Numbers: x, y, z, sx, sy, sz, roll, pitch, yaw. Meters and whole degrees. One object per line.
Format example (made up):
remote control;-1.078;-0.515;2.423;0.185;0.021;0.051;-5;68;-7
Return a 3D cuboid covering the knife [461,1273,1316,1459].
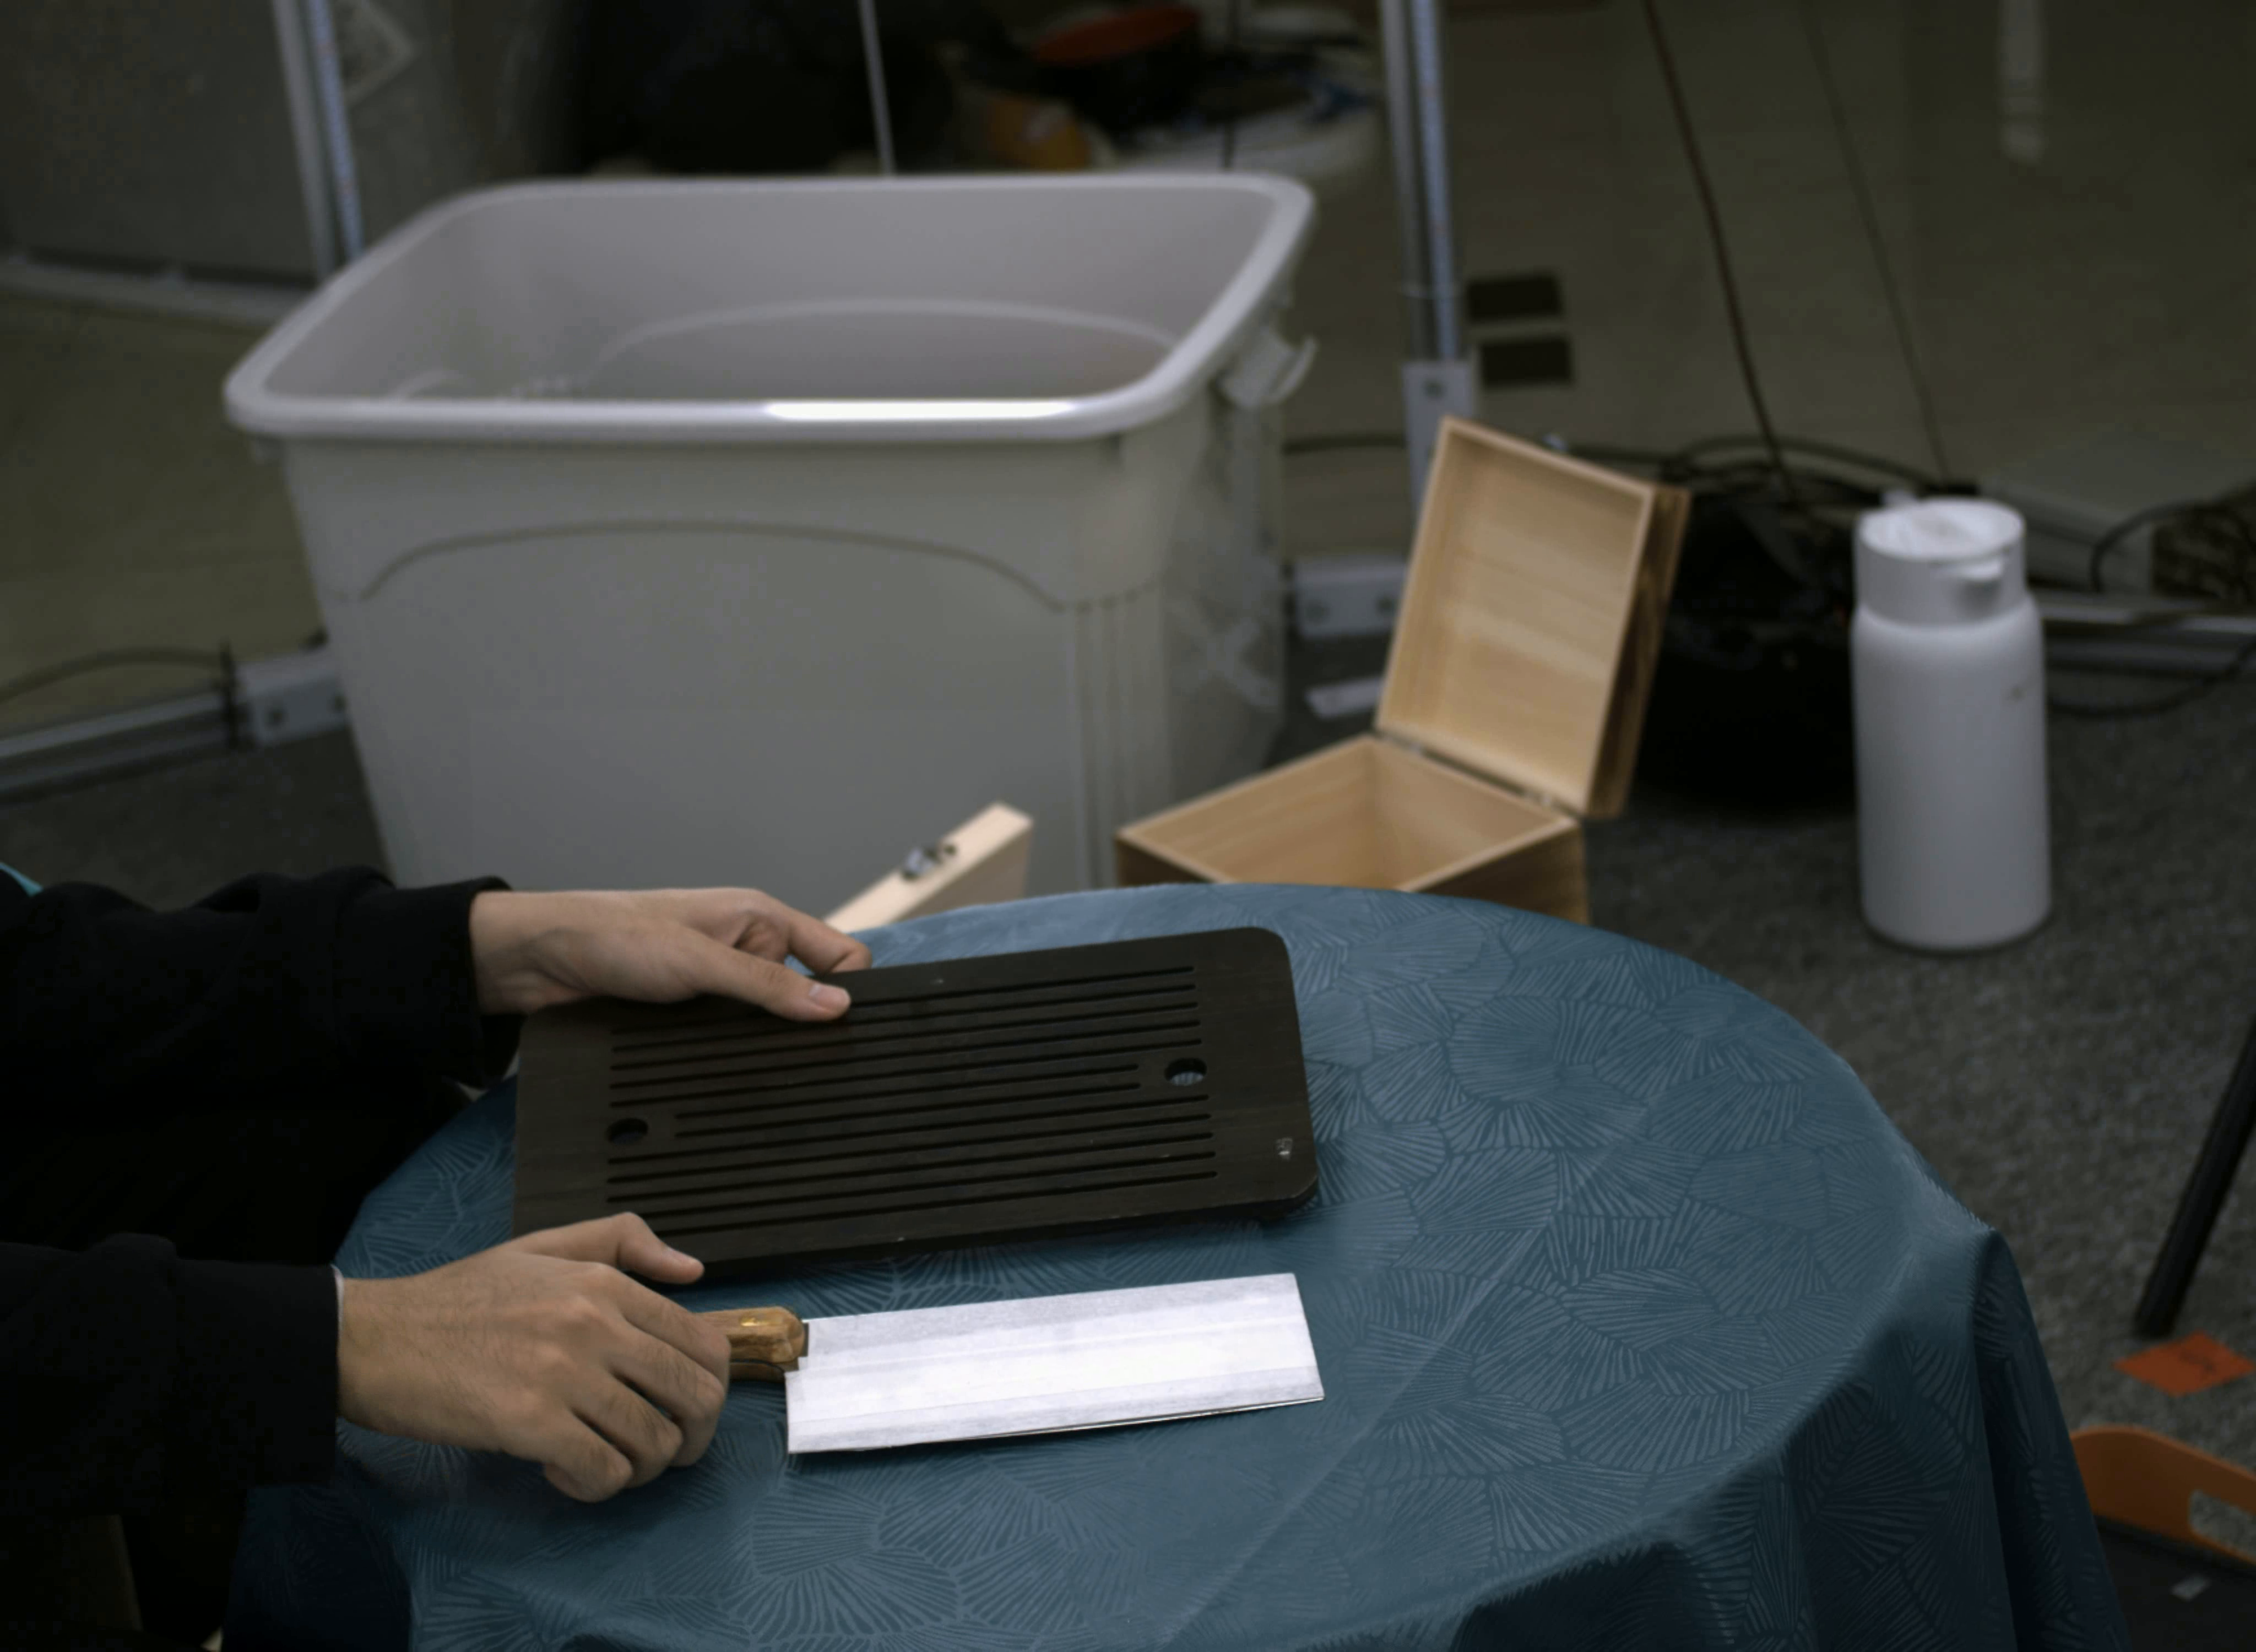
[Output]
knife;-0.086;0.196;2.028;0.305;0.021;0.091;-5;27;-3

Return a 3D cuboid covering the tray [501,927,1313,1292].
tray;-0.086;0.109;2.174;0.305;0.019;0.167;-6;36;0
